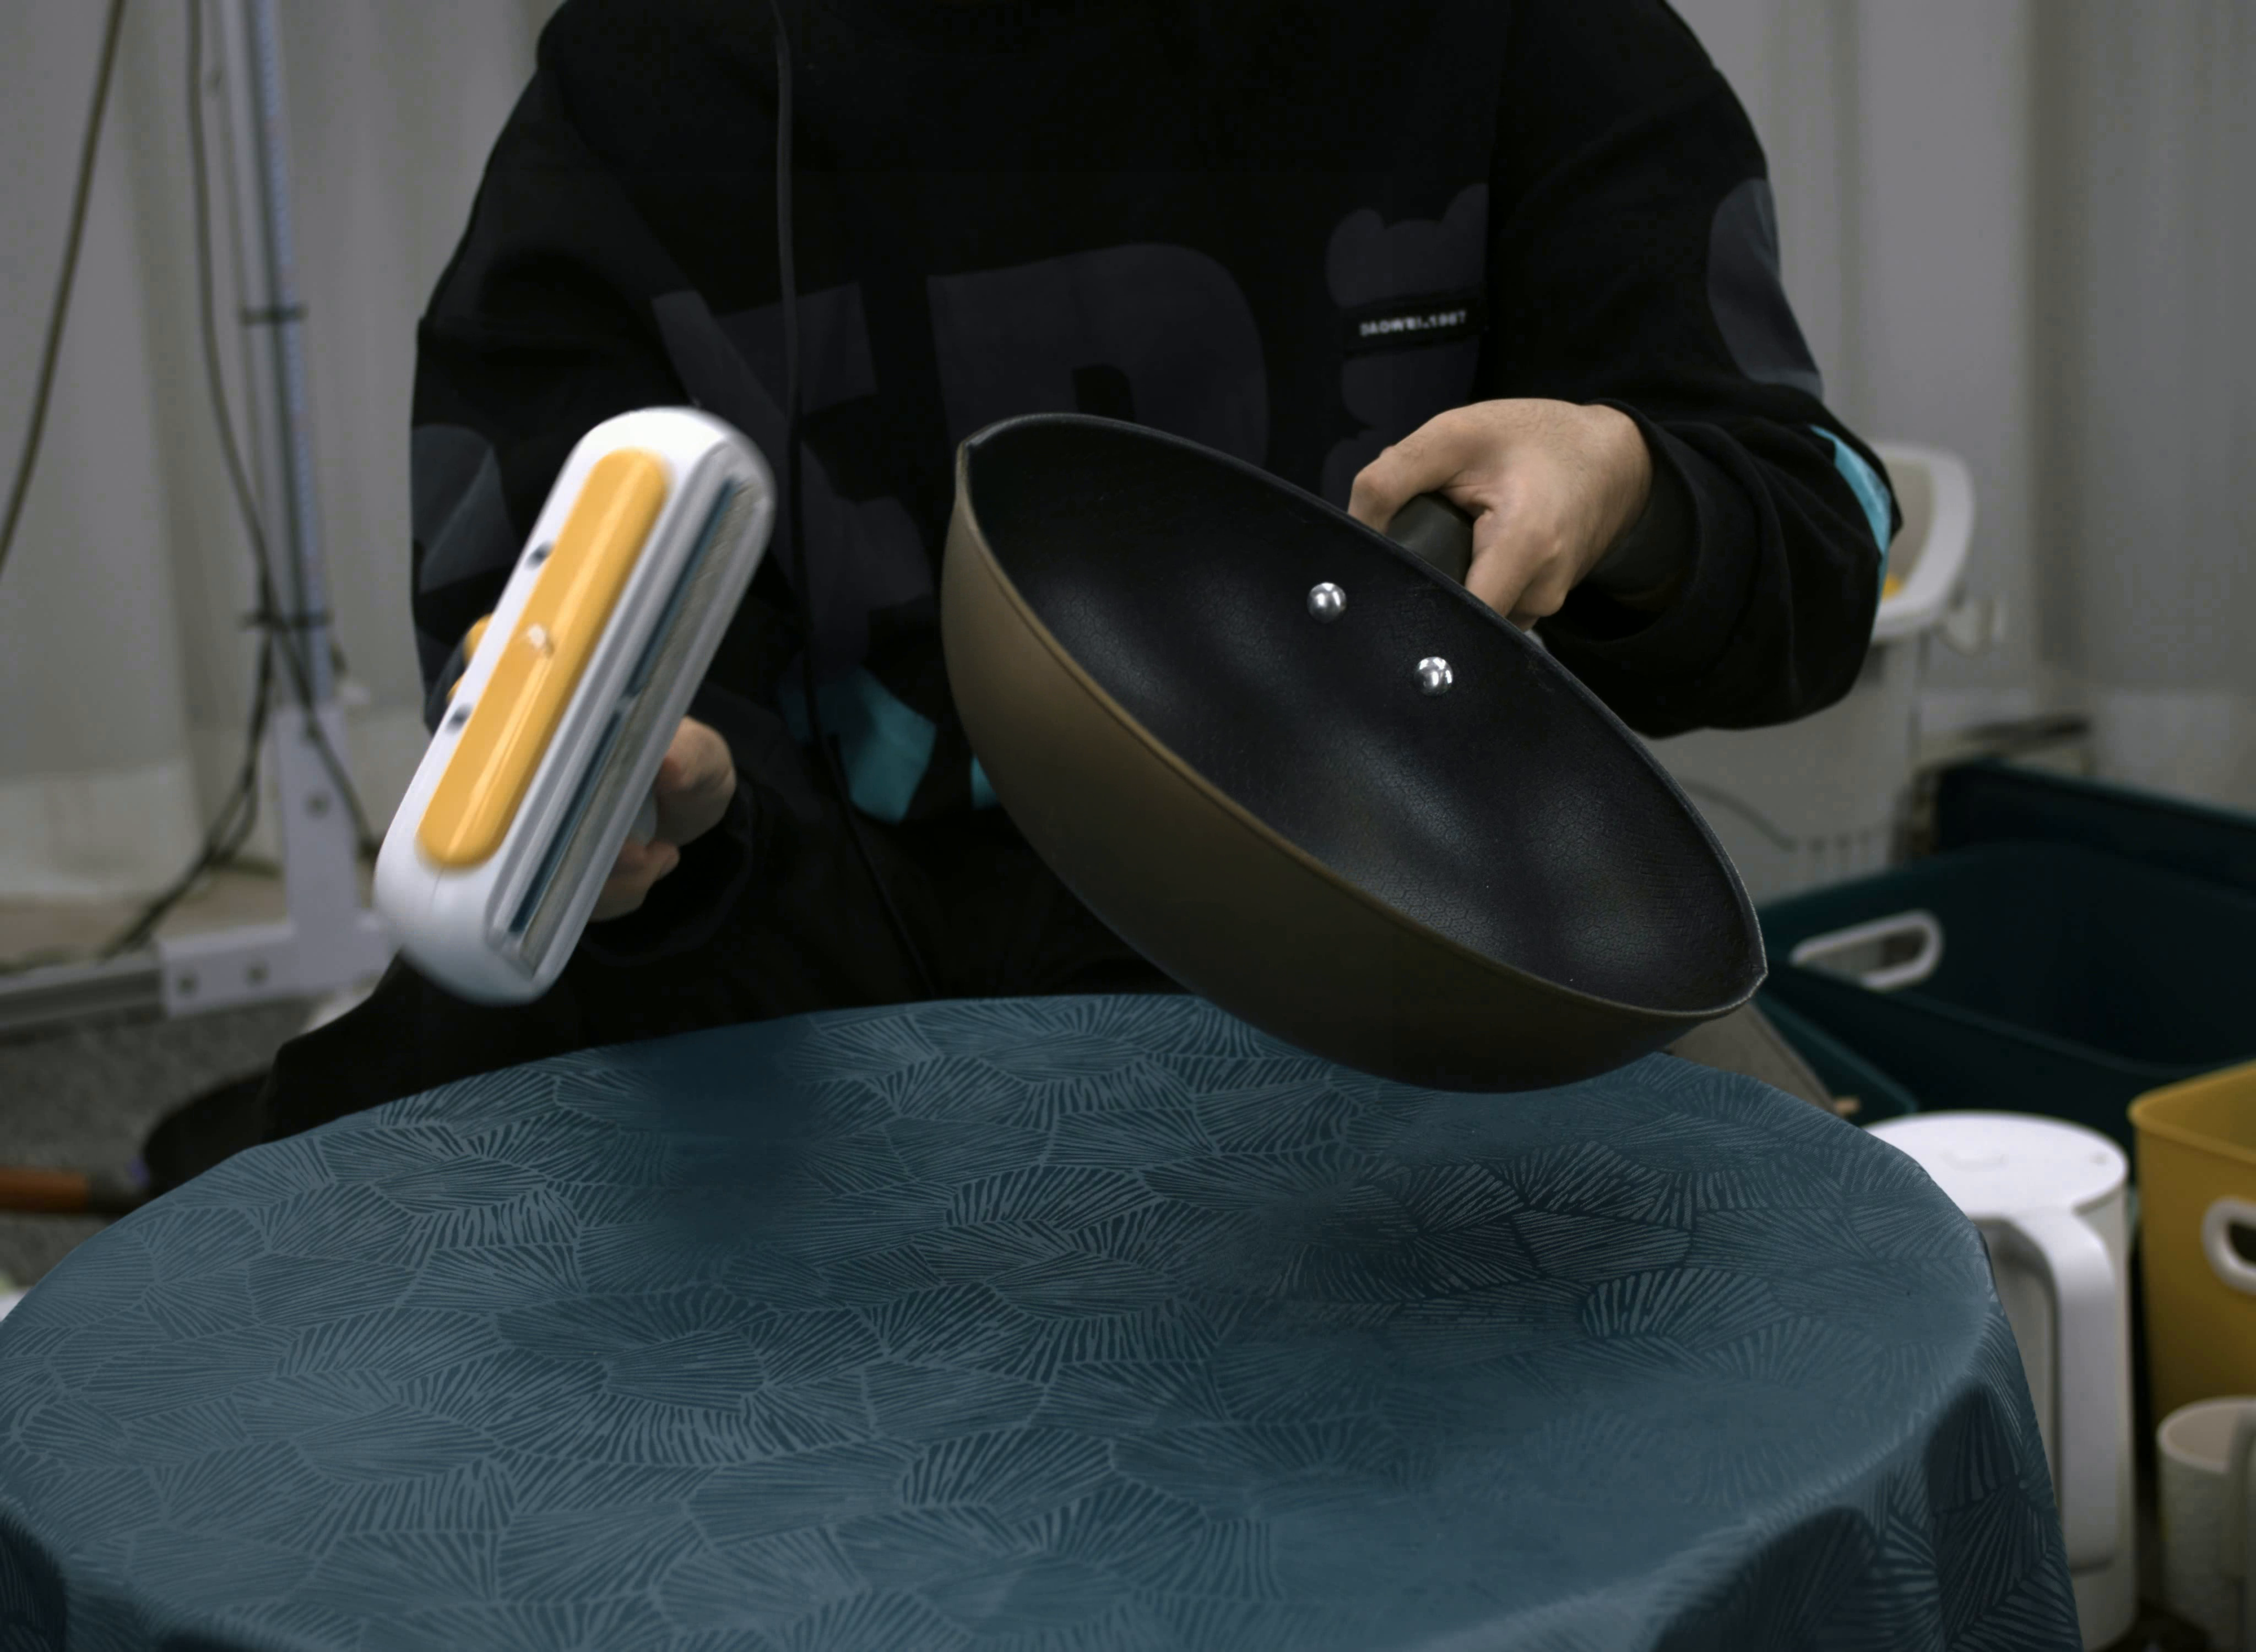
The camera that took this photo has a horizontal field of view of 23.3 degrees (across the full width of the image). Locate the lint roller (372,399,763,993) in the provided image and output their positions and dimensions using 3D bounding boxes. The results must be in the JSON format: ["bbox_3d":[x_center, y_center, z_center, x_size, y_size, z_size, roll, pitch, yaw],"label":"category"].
[{"bbox_3d":[-0.168,-0.019,1.732,0.074,0.195,0.190,13,-22,16],"label":"lint roller"}]

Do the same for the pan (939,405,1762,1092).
[{"bbox_3d":[0.066,-0.039,1.719,0.287,0.086,0.466,34,21,-2],"label":"pan"}]
